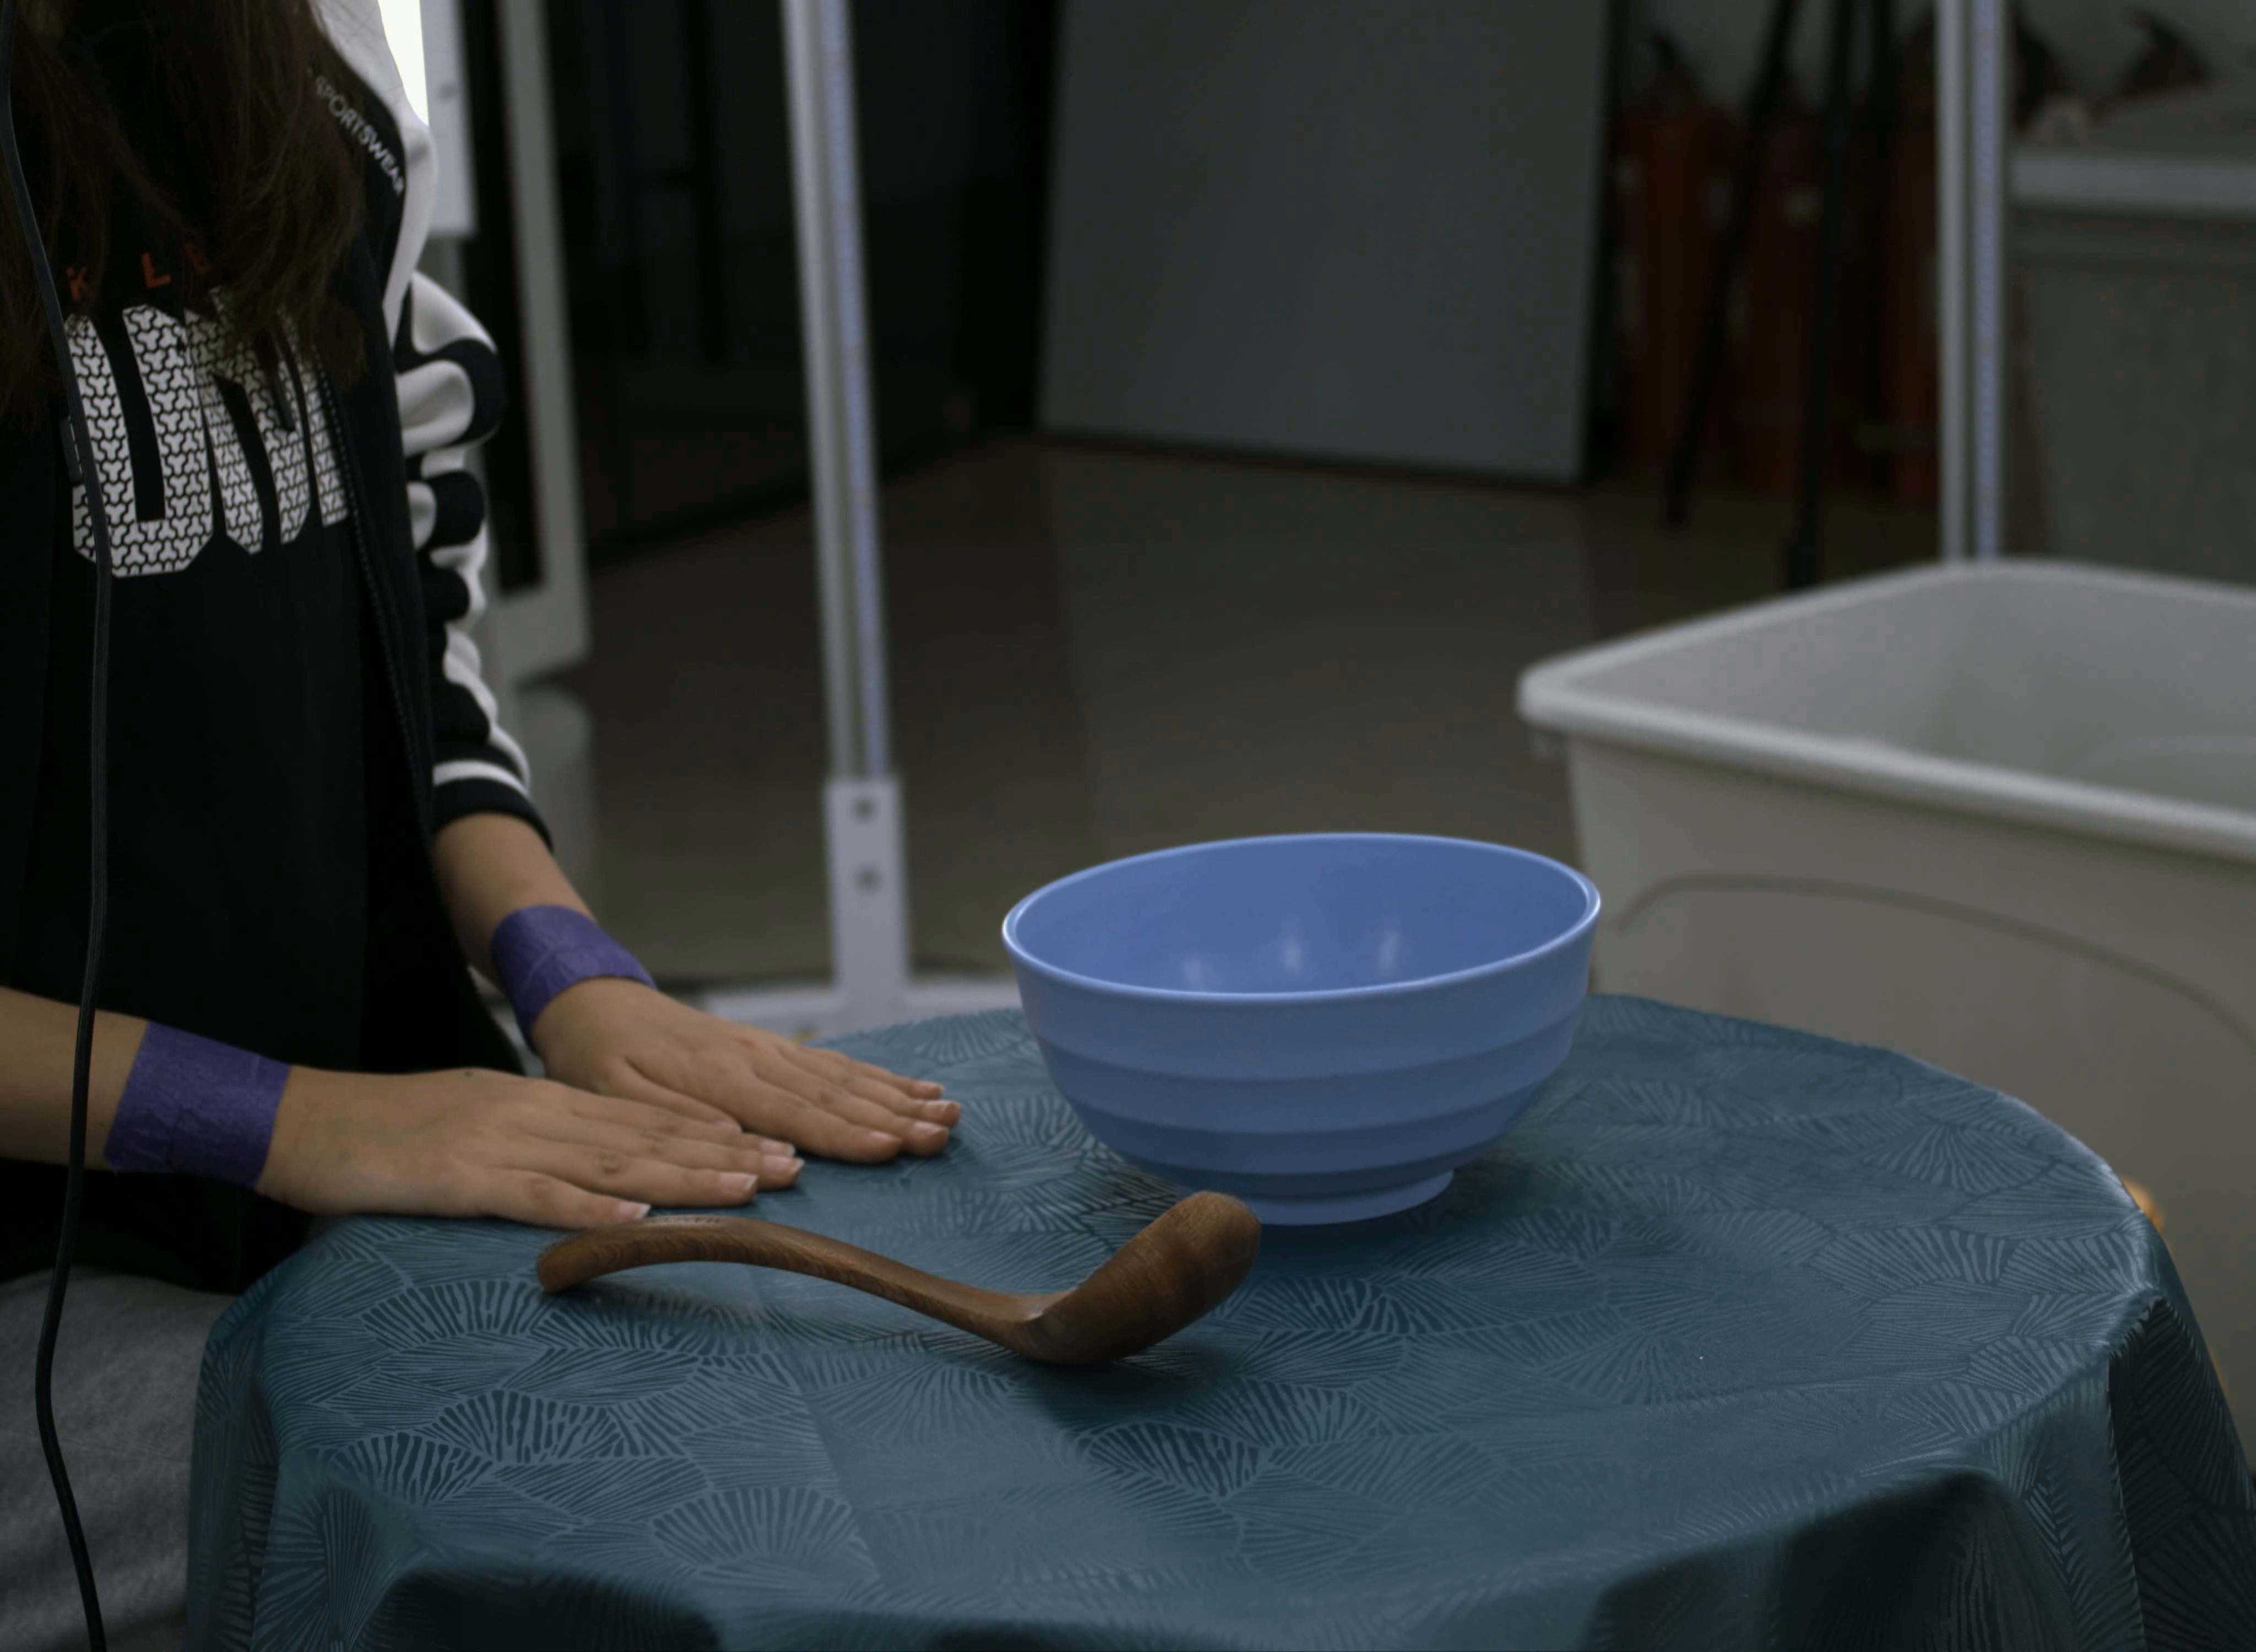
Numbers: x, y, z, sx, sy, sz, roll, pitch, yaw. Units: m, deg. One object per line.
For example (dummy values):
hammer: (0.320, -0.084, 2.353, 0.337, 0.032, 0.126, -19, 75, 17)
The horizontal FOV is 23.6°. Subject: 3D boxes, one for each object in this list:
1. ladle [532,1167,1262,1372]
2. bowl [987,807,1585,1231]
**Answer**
ladle: (-0.076, 0.125, 1.643, 0.261, 0.066, 0.075, 4, 10, 32)
bowl: (0.054, 0.070, 1.762, 0.194, 0.096, 0.197, -4, 20, 0)
